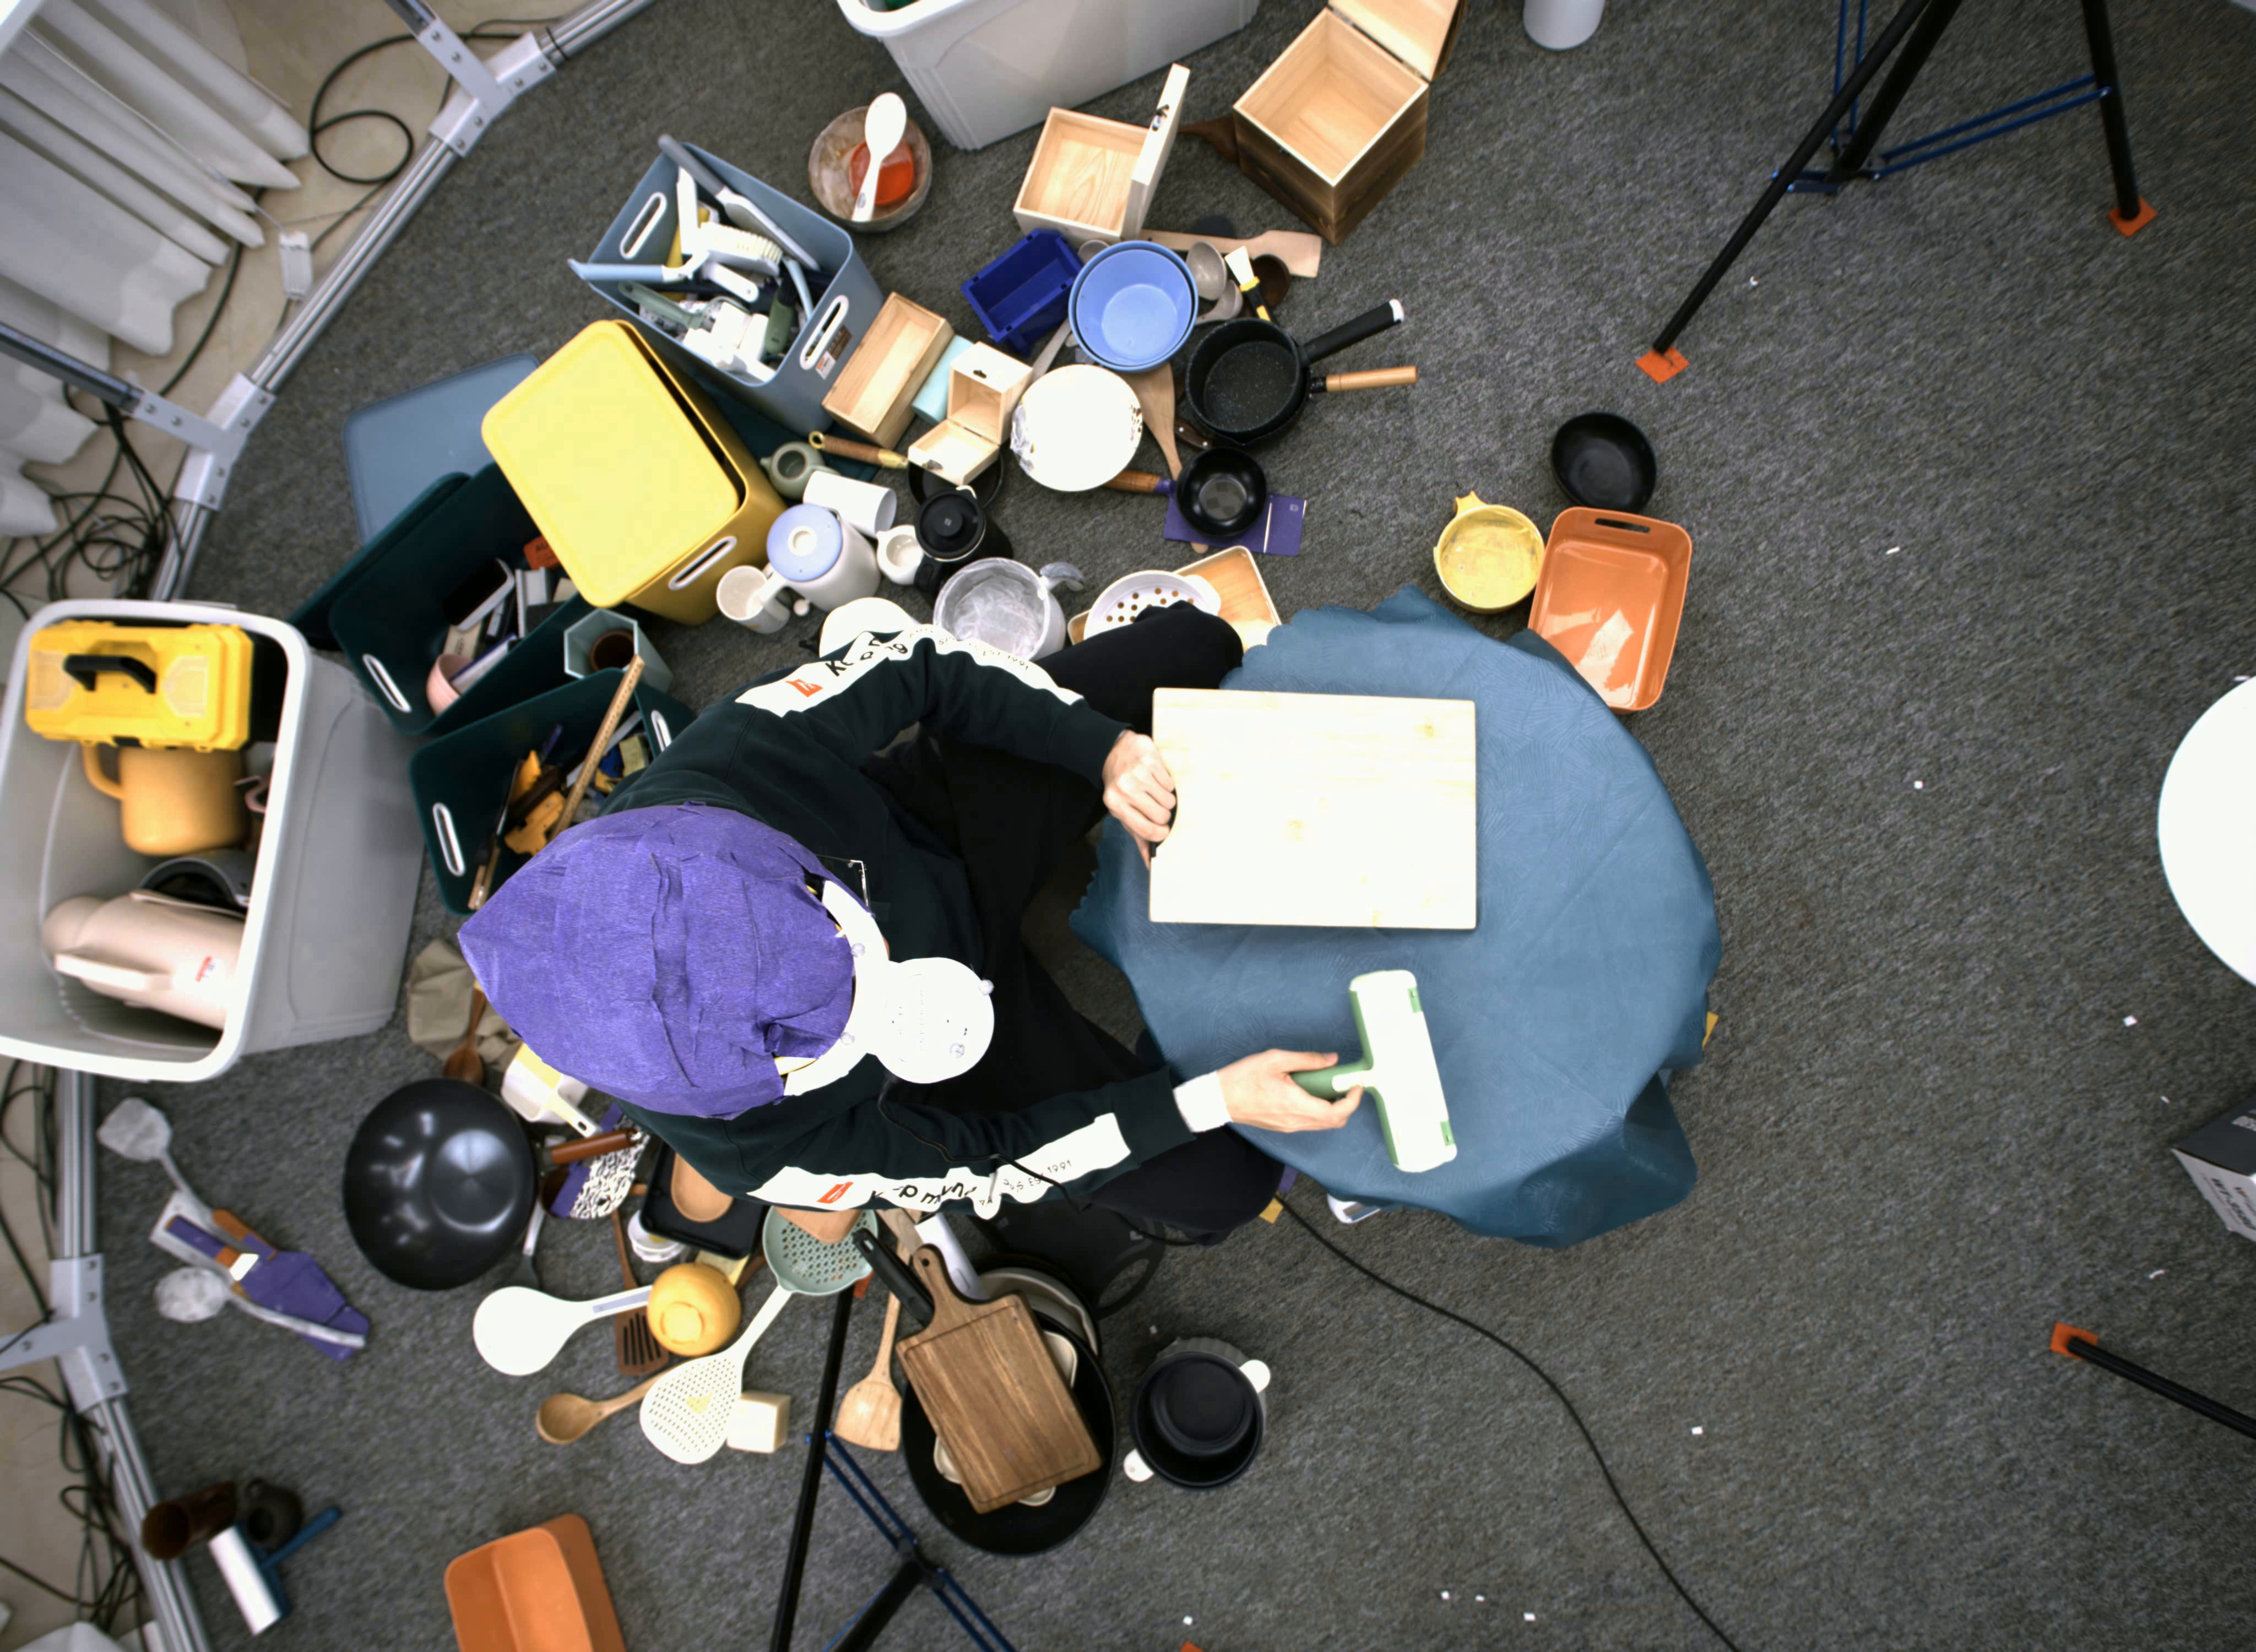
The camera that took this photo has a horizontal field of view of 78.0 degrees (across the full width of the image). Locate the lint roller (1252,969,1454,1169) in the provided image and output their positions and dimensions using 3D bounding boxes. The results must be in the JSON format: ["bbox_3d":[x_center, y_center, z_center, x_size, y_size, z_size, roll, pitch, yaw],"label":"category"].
[{"bbox_3d":[0.210,0.252,1.367,0.184,0.081,0.199,-15,96,9],"label":"lint roller"}]

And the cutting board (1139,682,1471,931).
[{"bbox_3d":[0.185,-0.020,1.420,0.348,0.023,0.249,1,87,-5],"label":"cutting board"}]
